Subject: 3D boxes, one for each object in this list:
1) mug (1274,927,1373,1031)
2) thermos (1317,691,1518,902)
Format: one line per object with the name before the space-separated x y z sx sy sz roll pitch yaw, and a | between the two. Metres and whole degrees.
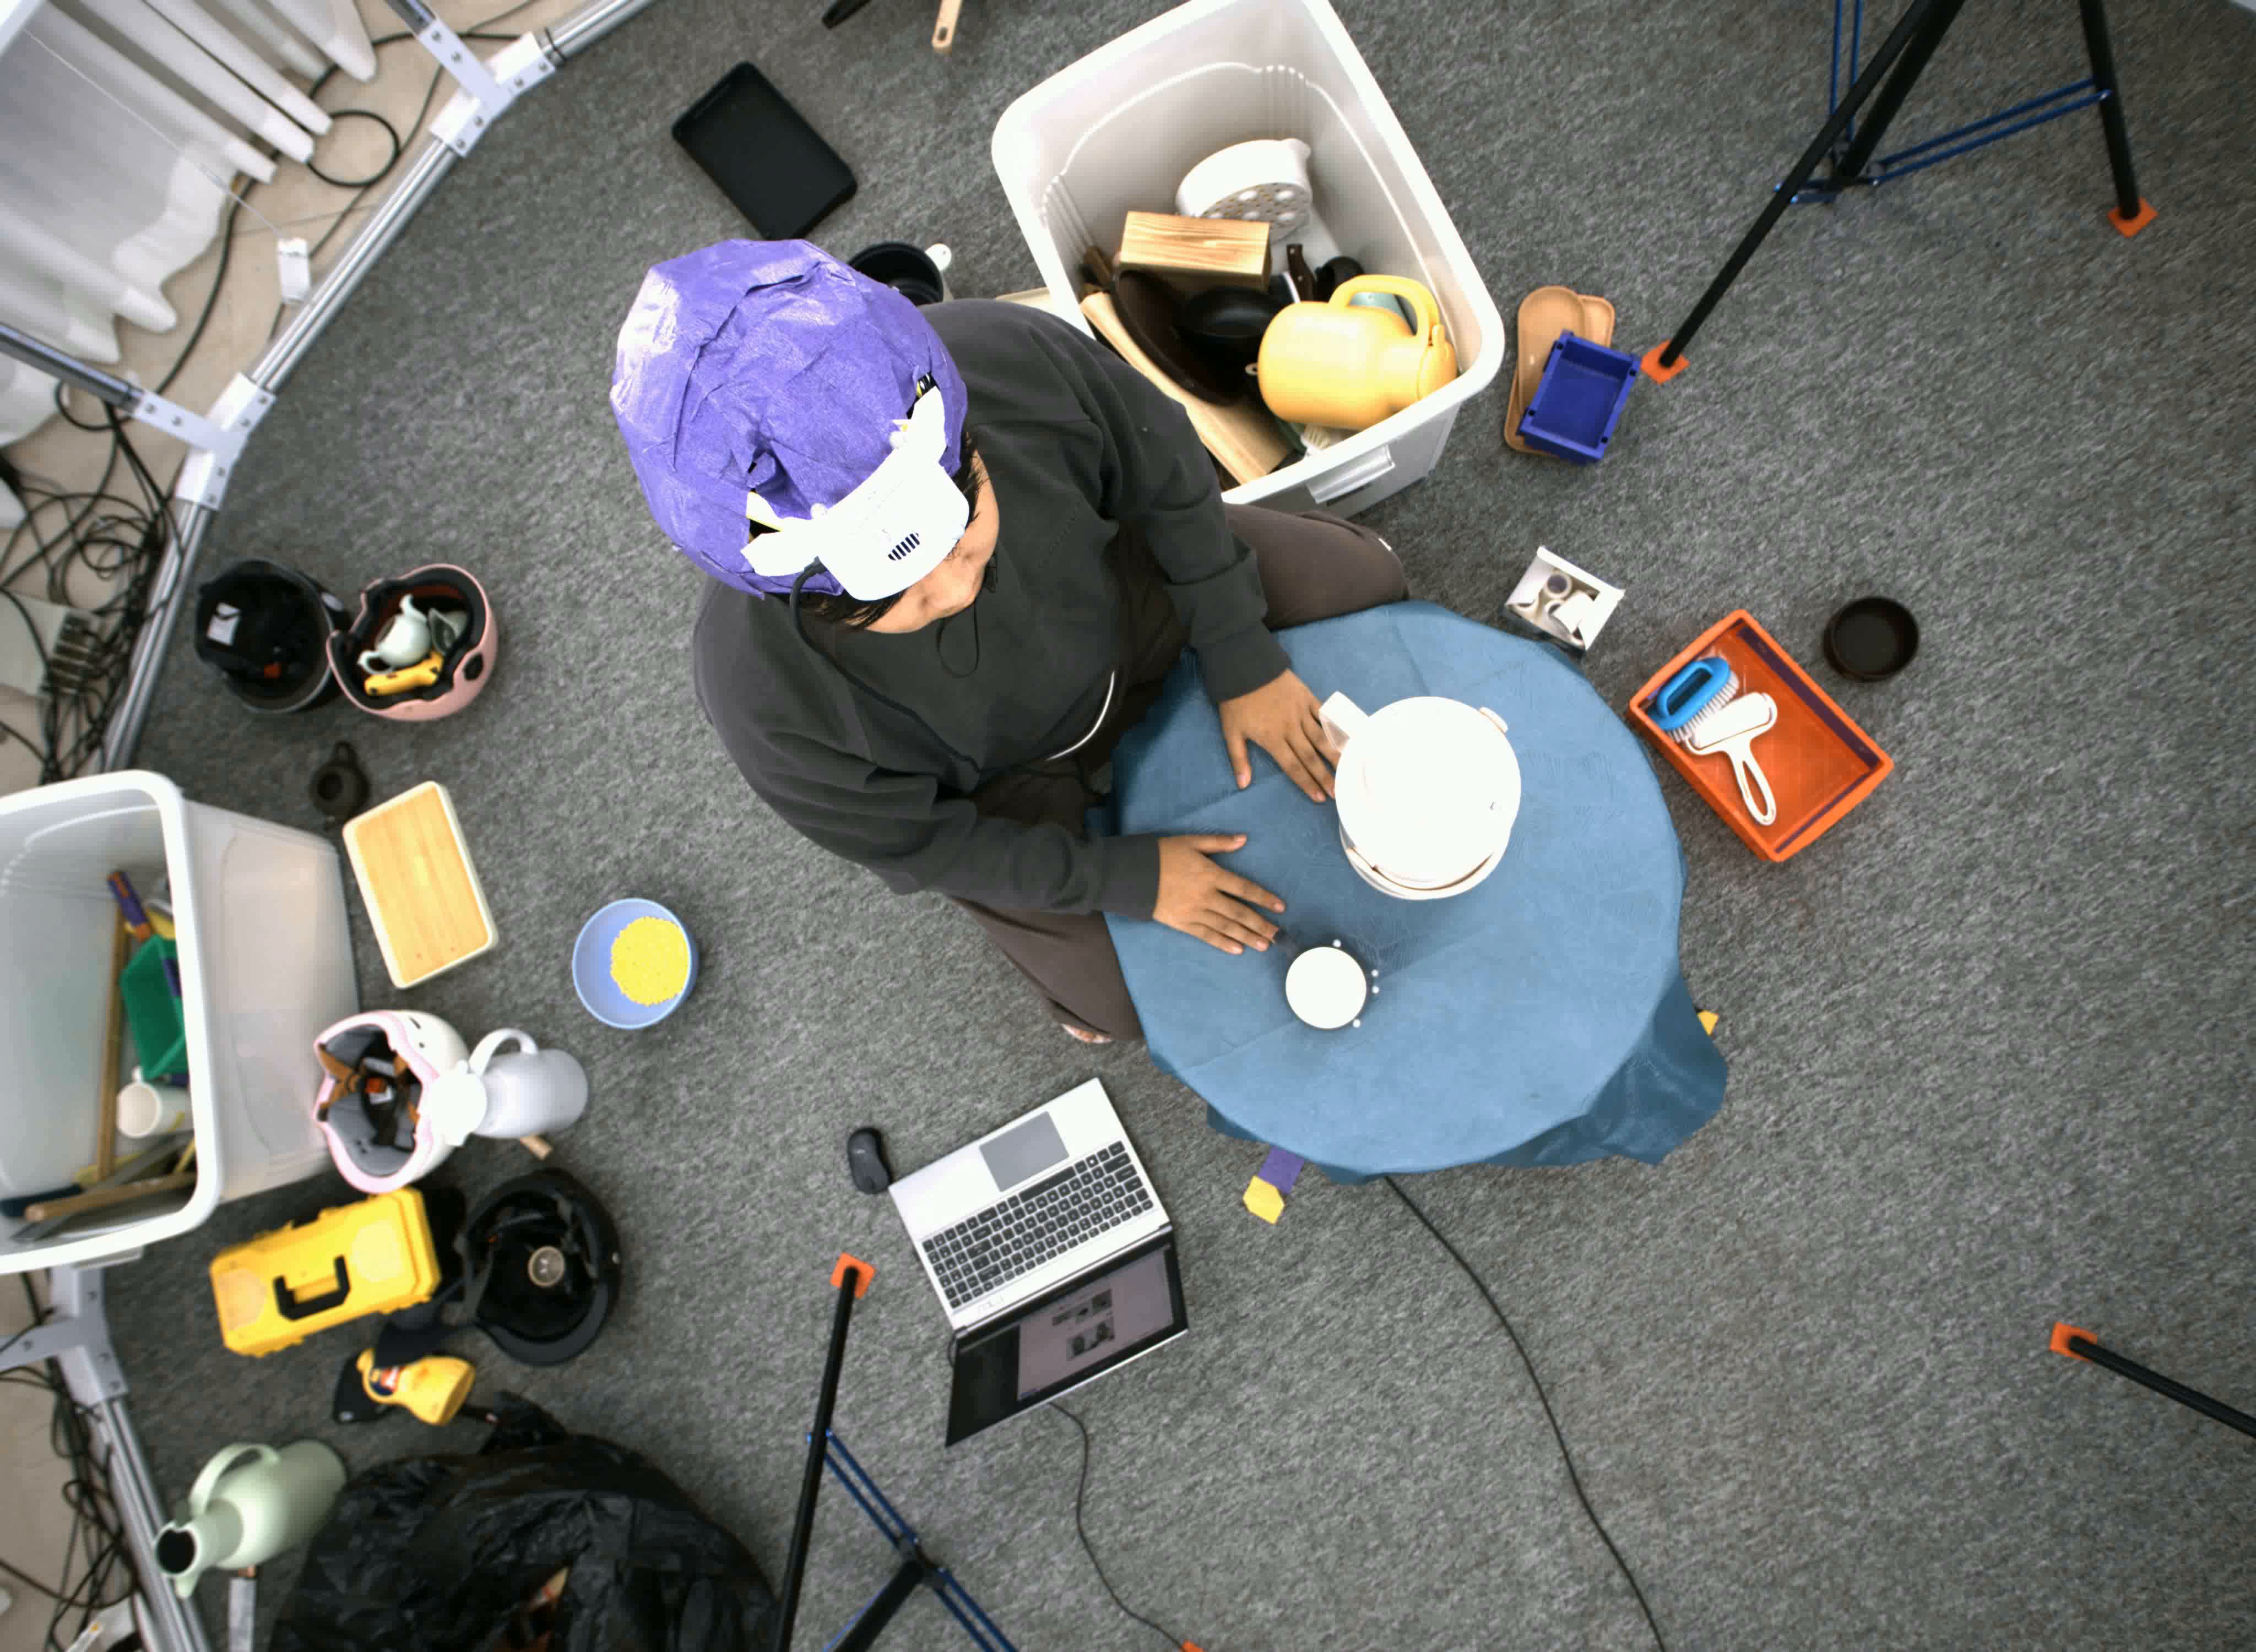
mug | 0.194 0.152 1.424 0.094 0.090 0.122 -41 80 4
thermos | 0.259 -0.034 1.268 0.206 0.407 0.176 43 93 11
